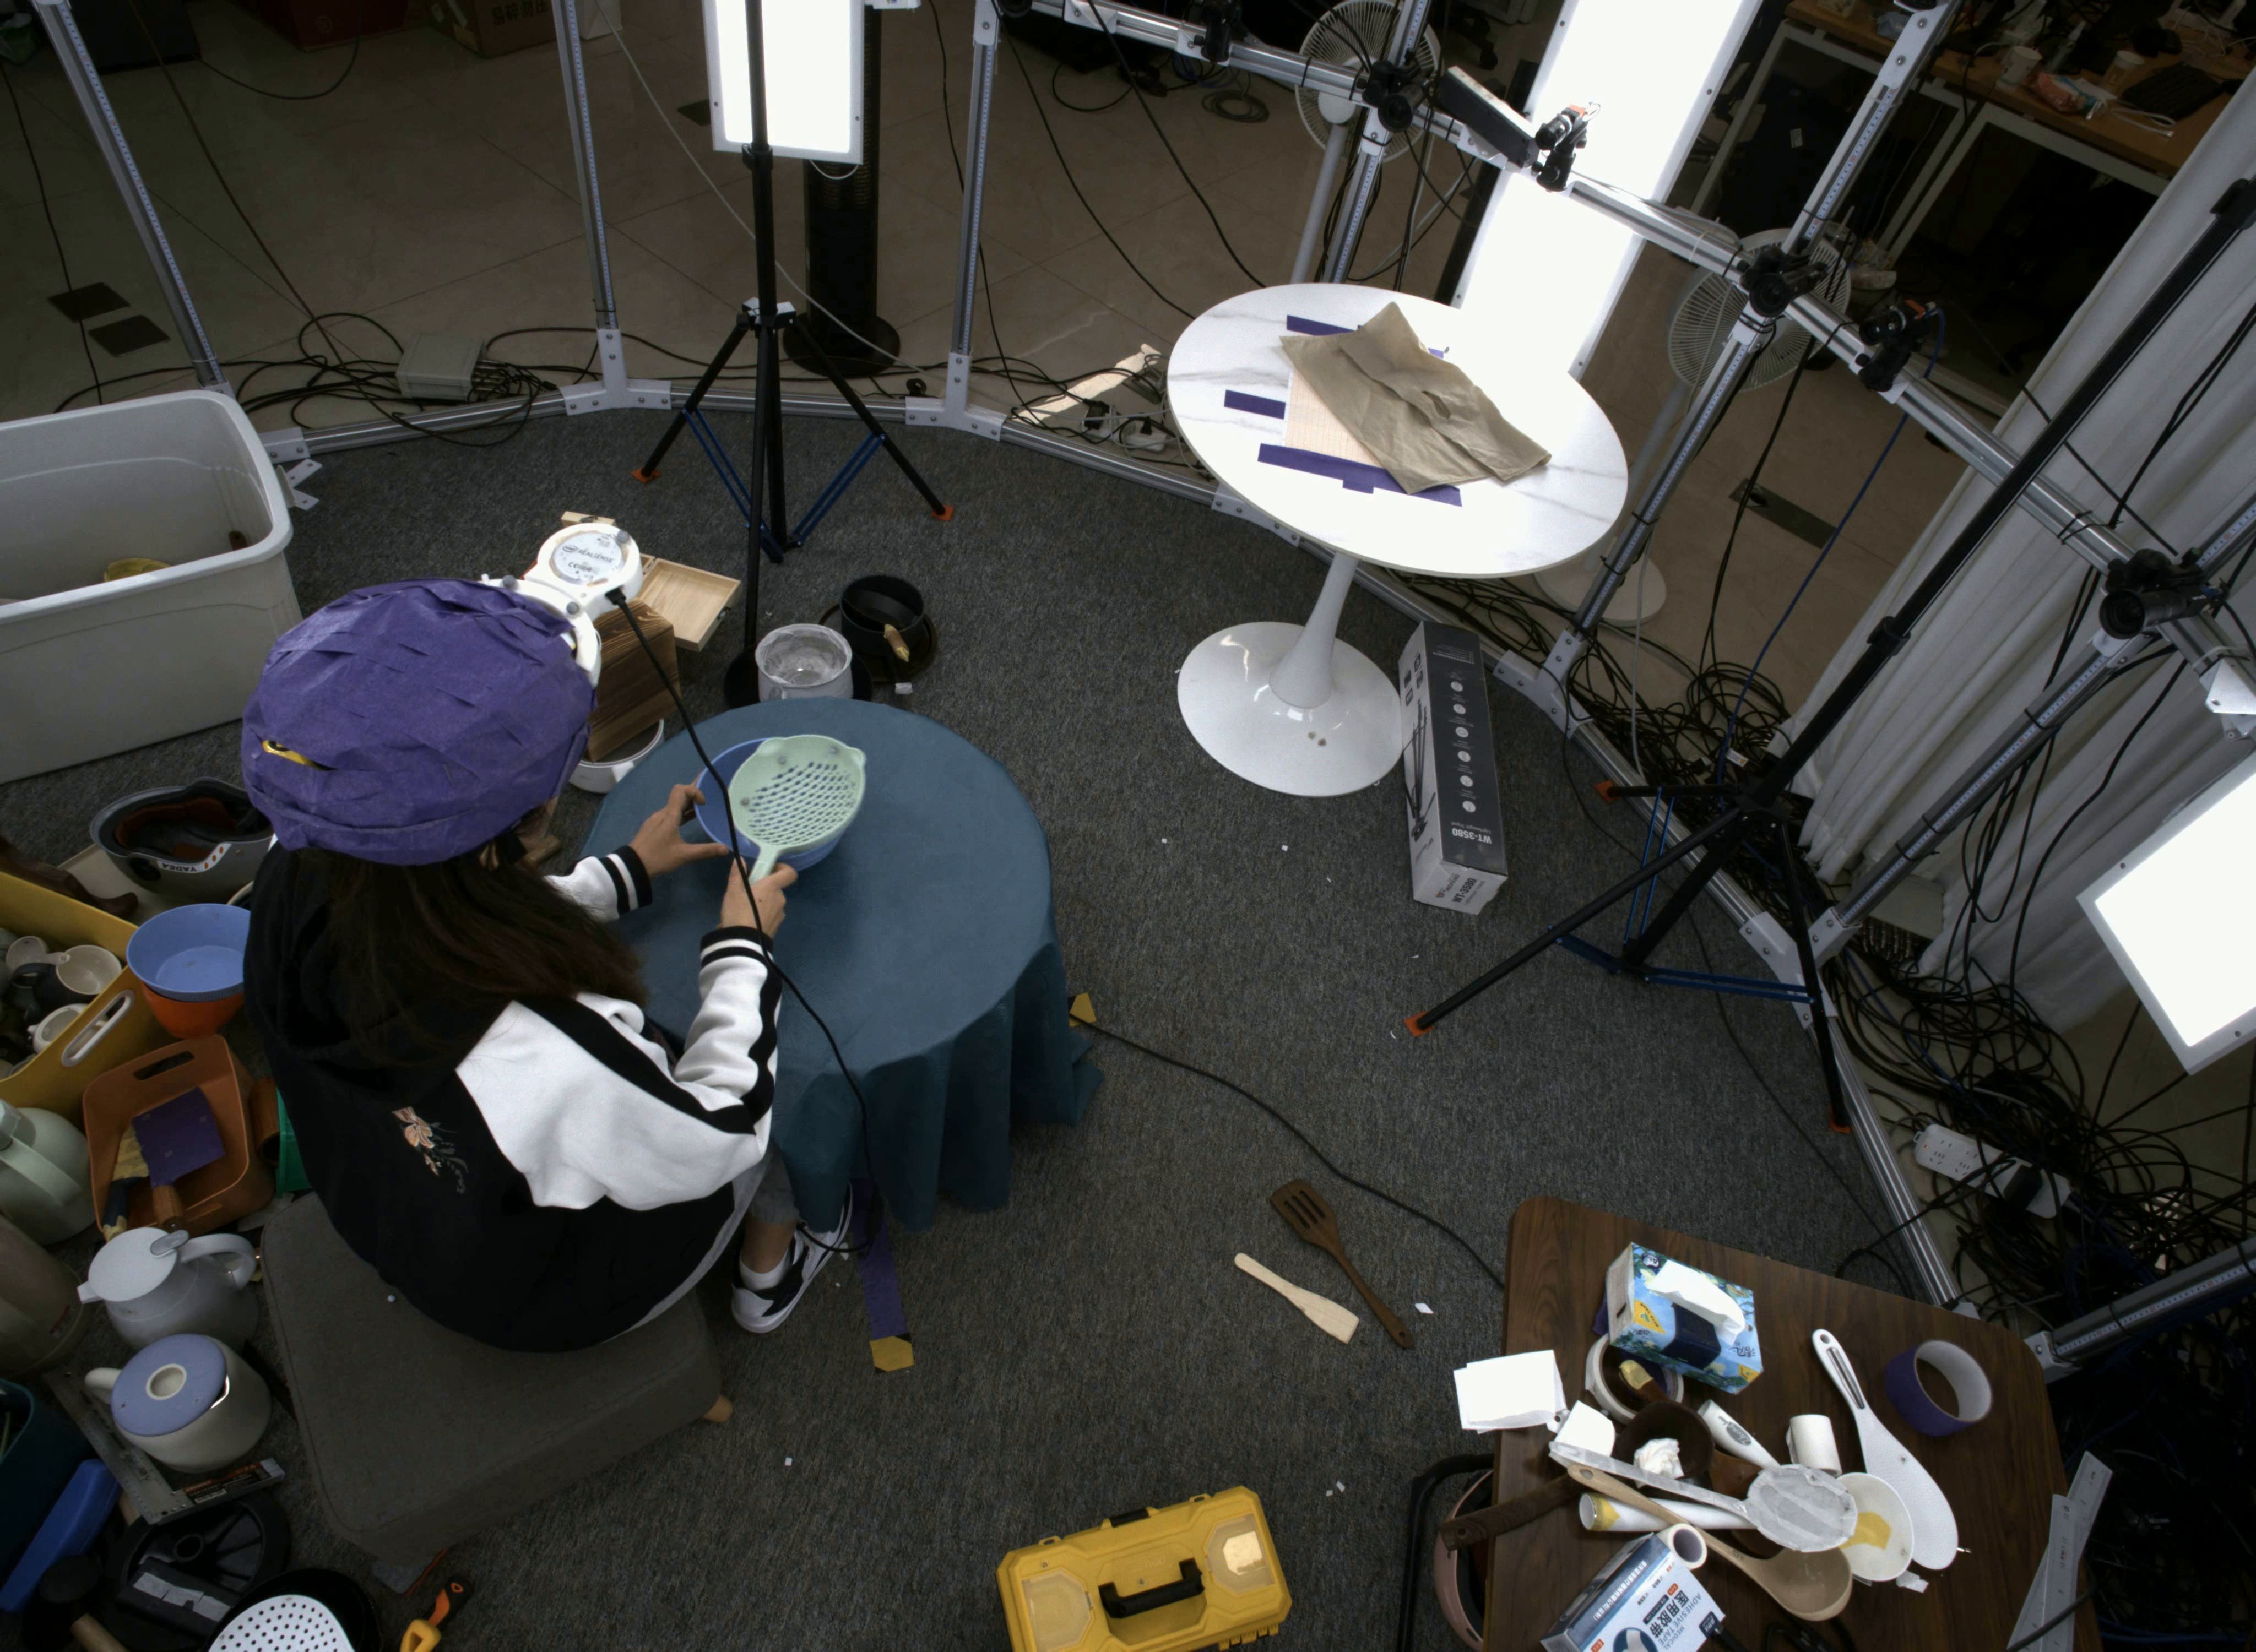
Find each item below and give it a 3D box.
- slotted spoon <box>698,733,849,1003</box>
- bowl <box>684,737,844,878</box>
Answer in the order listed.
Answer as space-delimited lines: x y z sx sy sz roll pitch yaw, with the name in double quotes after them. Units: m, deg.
-0.438 0.039 1.523 0.166 0.078 0.354 7 48 9 "slotted spoon"
-0.462 -0.009 1.655 0.196 0.097 0.193 8 53 -9 "bowl"
